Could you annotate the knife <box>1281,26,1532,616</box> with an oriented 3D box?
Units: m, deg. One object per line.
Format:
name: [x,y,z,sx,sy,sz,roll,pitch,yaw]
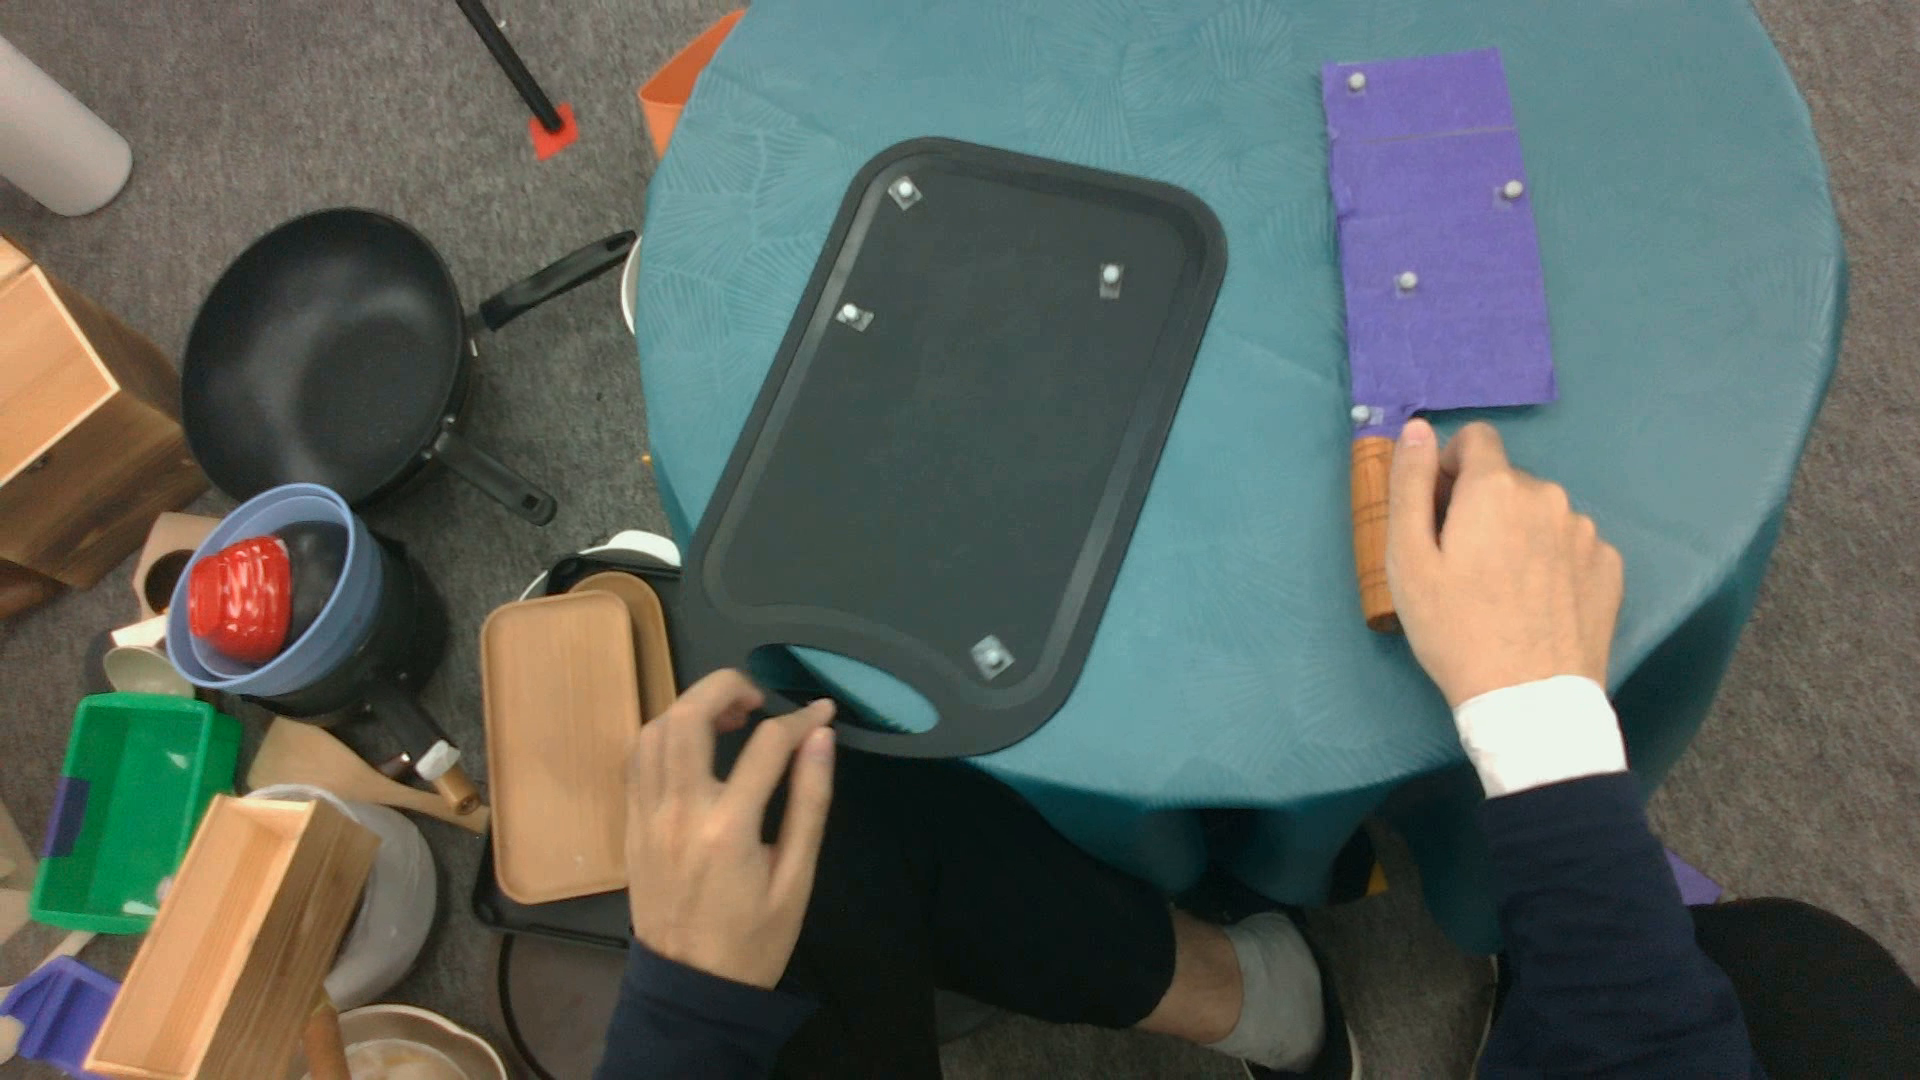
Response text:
knife: [0.219,-0.119,0.654,0.104,0.032,0.316,-4,69,8]

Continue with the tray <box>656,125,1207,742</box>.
tray: [-0.016,-0.061,0.683,0.211,0.010,0.326,18,74,16]
